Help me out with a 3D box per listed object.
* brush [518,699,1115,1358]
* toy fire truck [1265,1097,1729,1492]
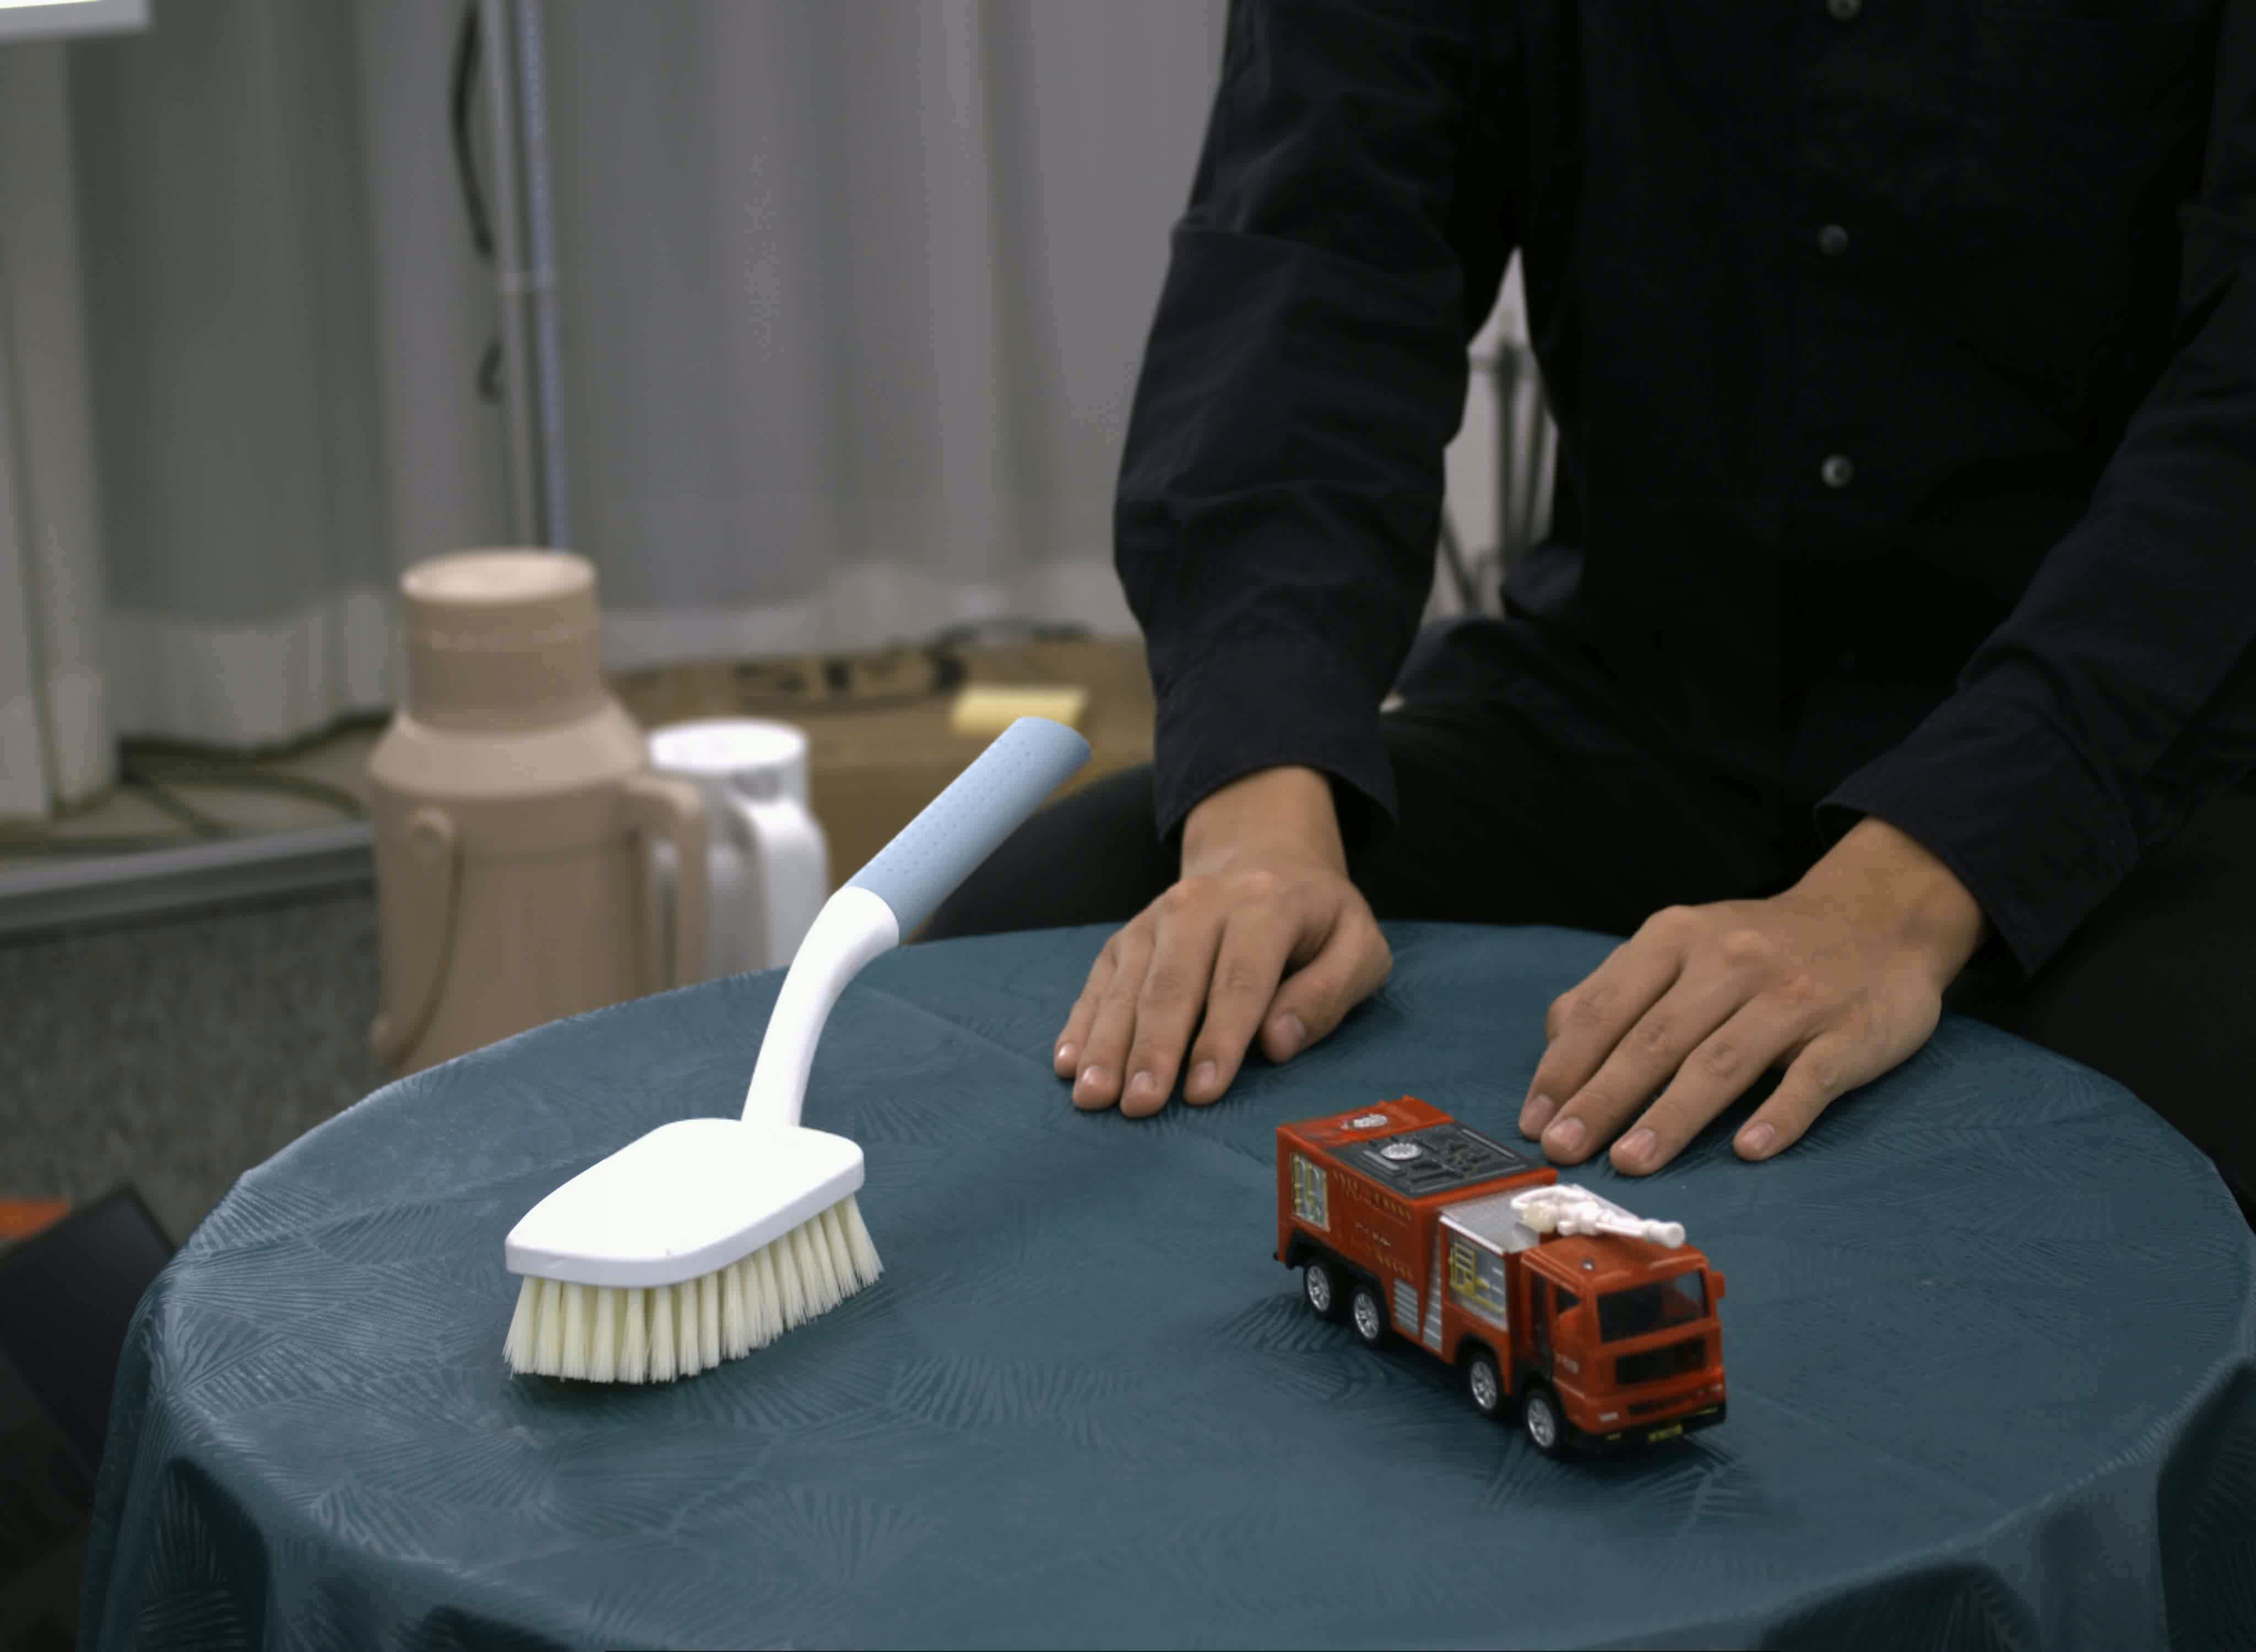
[{"bbox_3d":[-0.076,0.072,1.553,0.083,0.085,0.321,37,40,6],"label":"brush"},{"bbox_3d":[0.096,0.120,1.397,0.053,0.070,0.171,-8,15,-28],"label":"toy fire truck"}]
